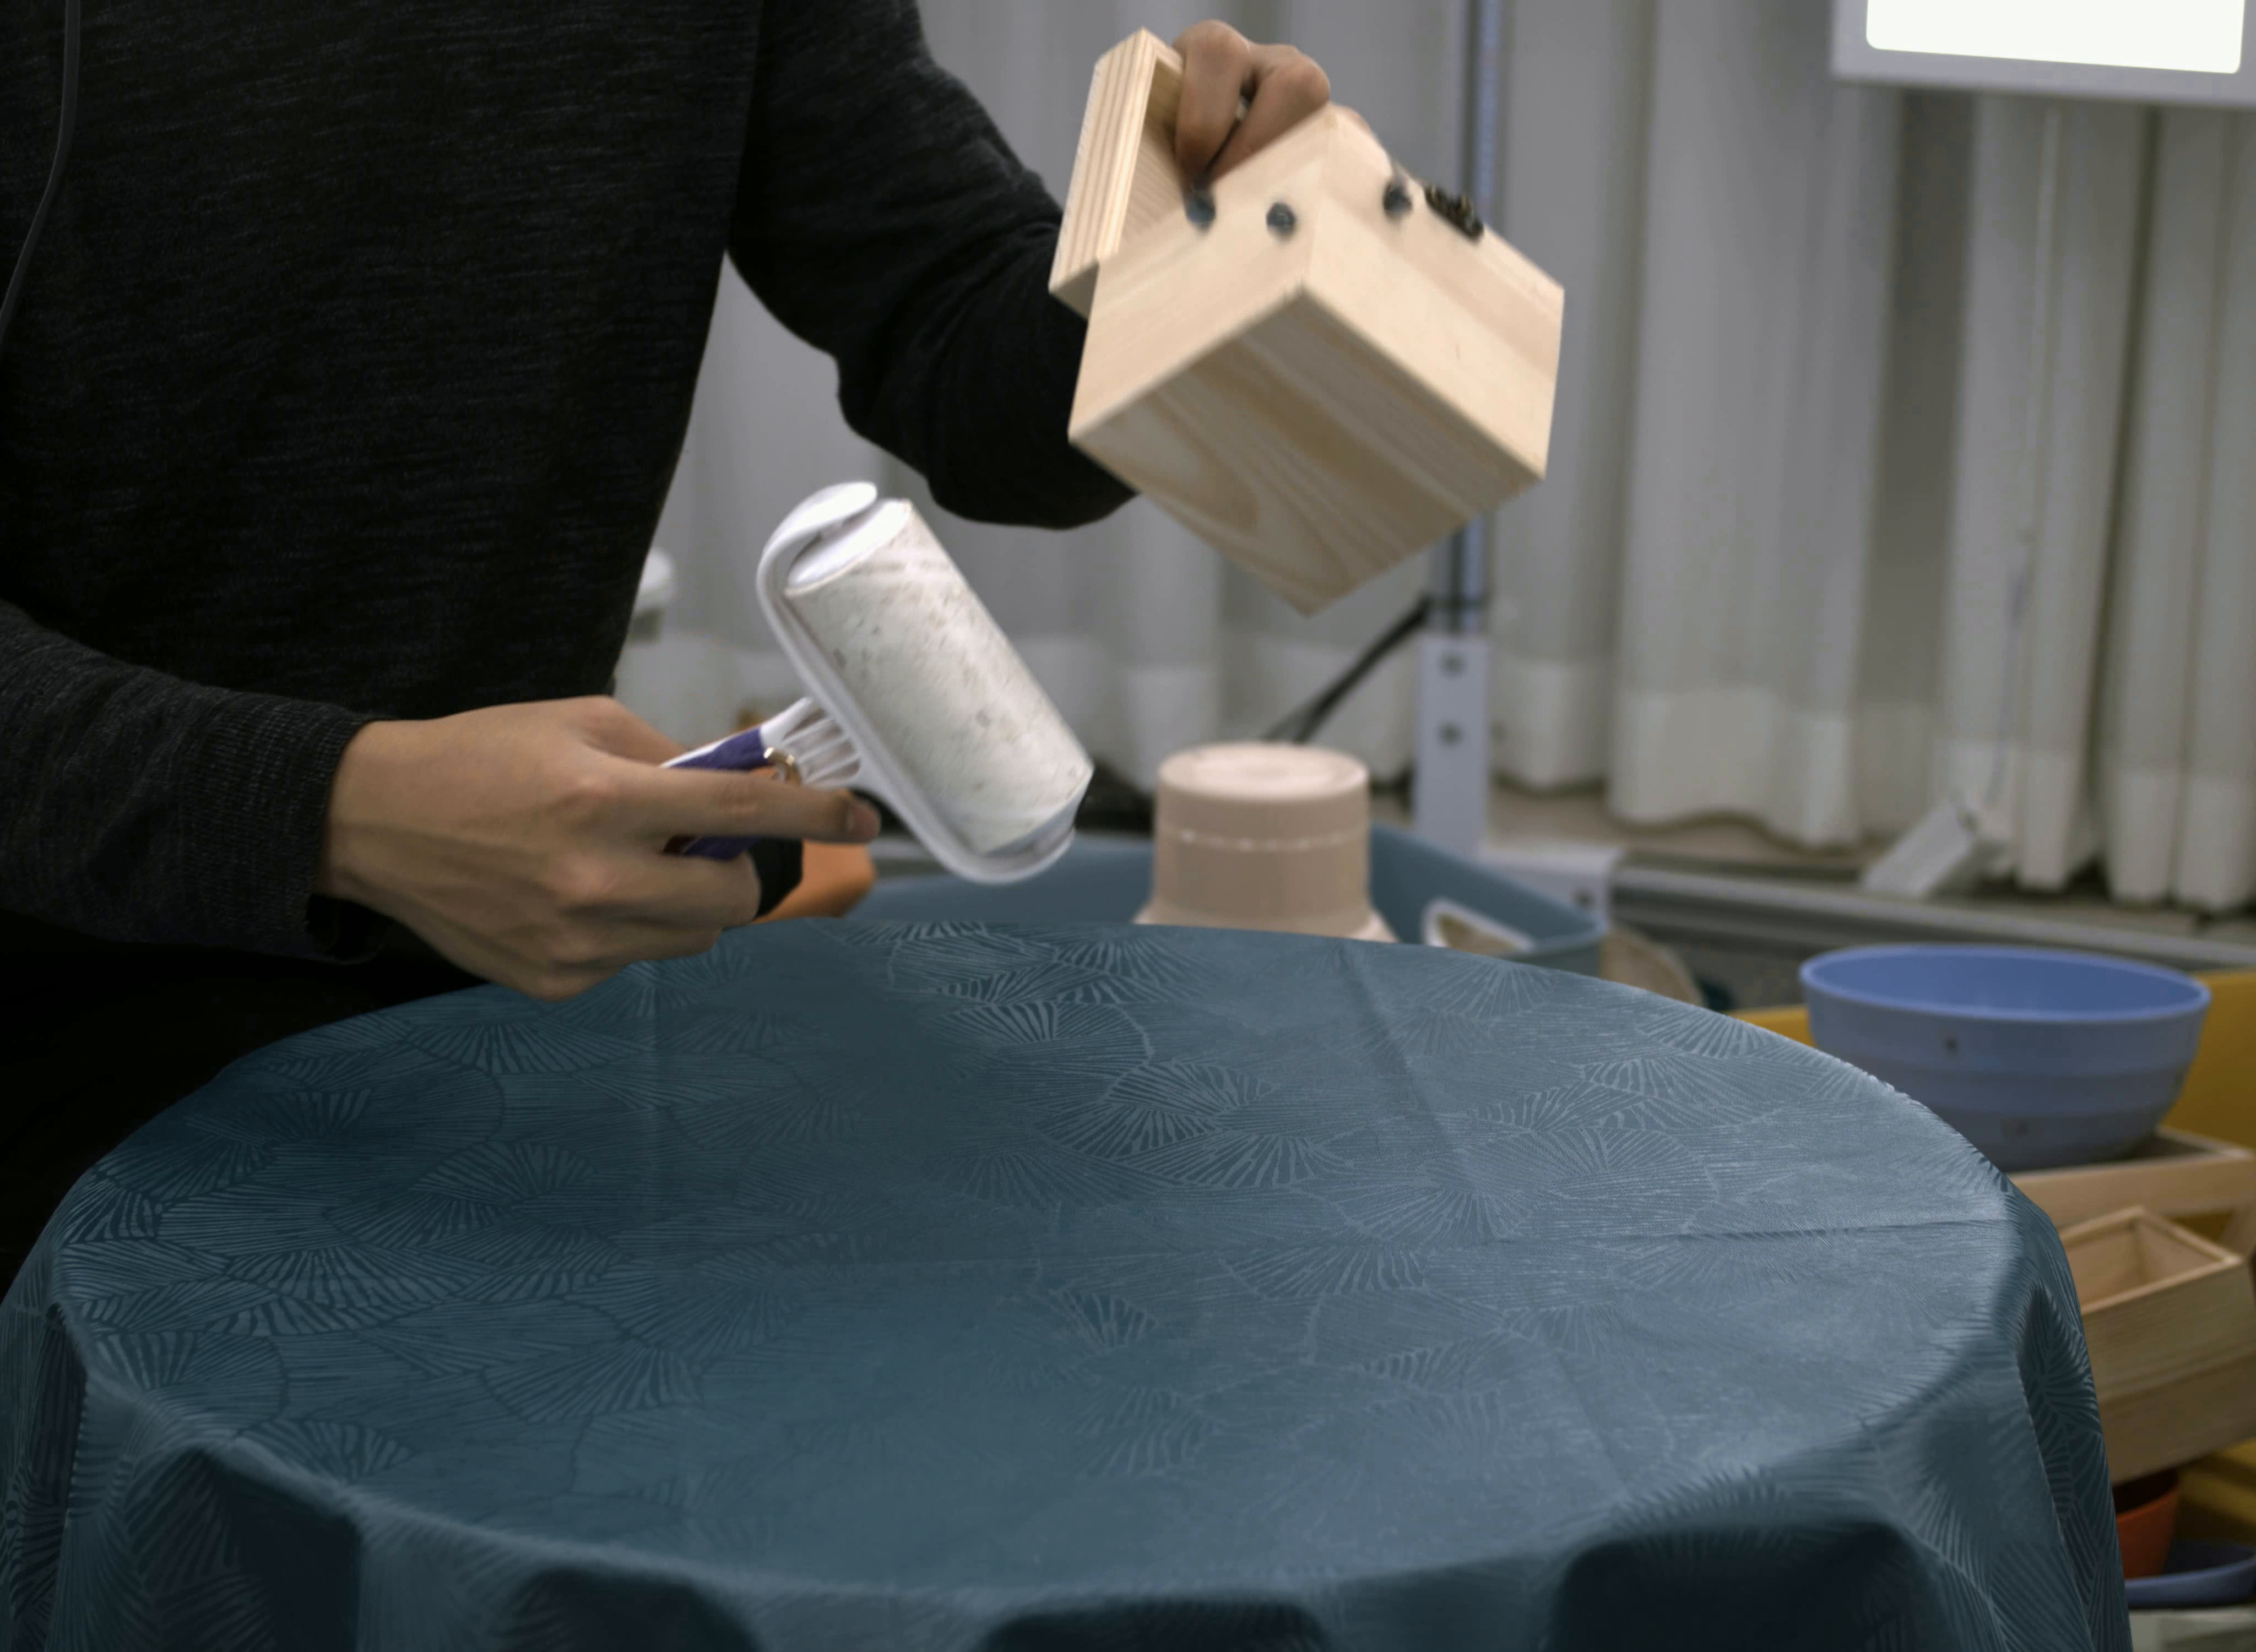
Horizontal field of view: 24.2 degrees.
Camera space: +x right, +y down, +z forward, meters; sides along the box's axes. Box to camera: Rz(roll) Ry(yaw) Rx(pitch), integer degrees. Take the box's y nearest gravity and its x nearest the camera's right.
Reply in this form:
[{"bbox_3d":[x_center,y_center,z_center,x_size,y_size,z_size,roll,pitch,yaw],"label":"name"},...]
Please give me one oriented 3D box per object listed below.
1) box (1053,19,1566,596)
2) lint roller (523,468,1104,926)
[{"bbox_3d":[0.057,-0.180,1.600,0.133,0.104,0.183,-31,35,37],"label":"box"},{"bbox_3d":[-0.110,-0.017,1.577,0.180,0.134,0.050,-30,21,11],"label":"lint roller"}]
